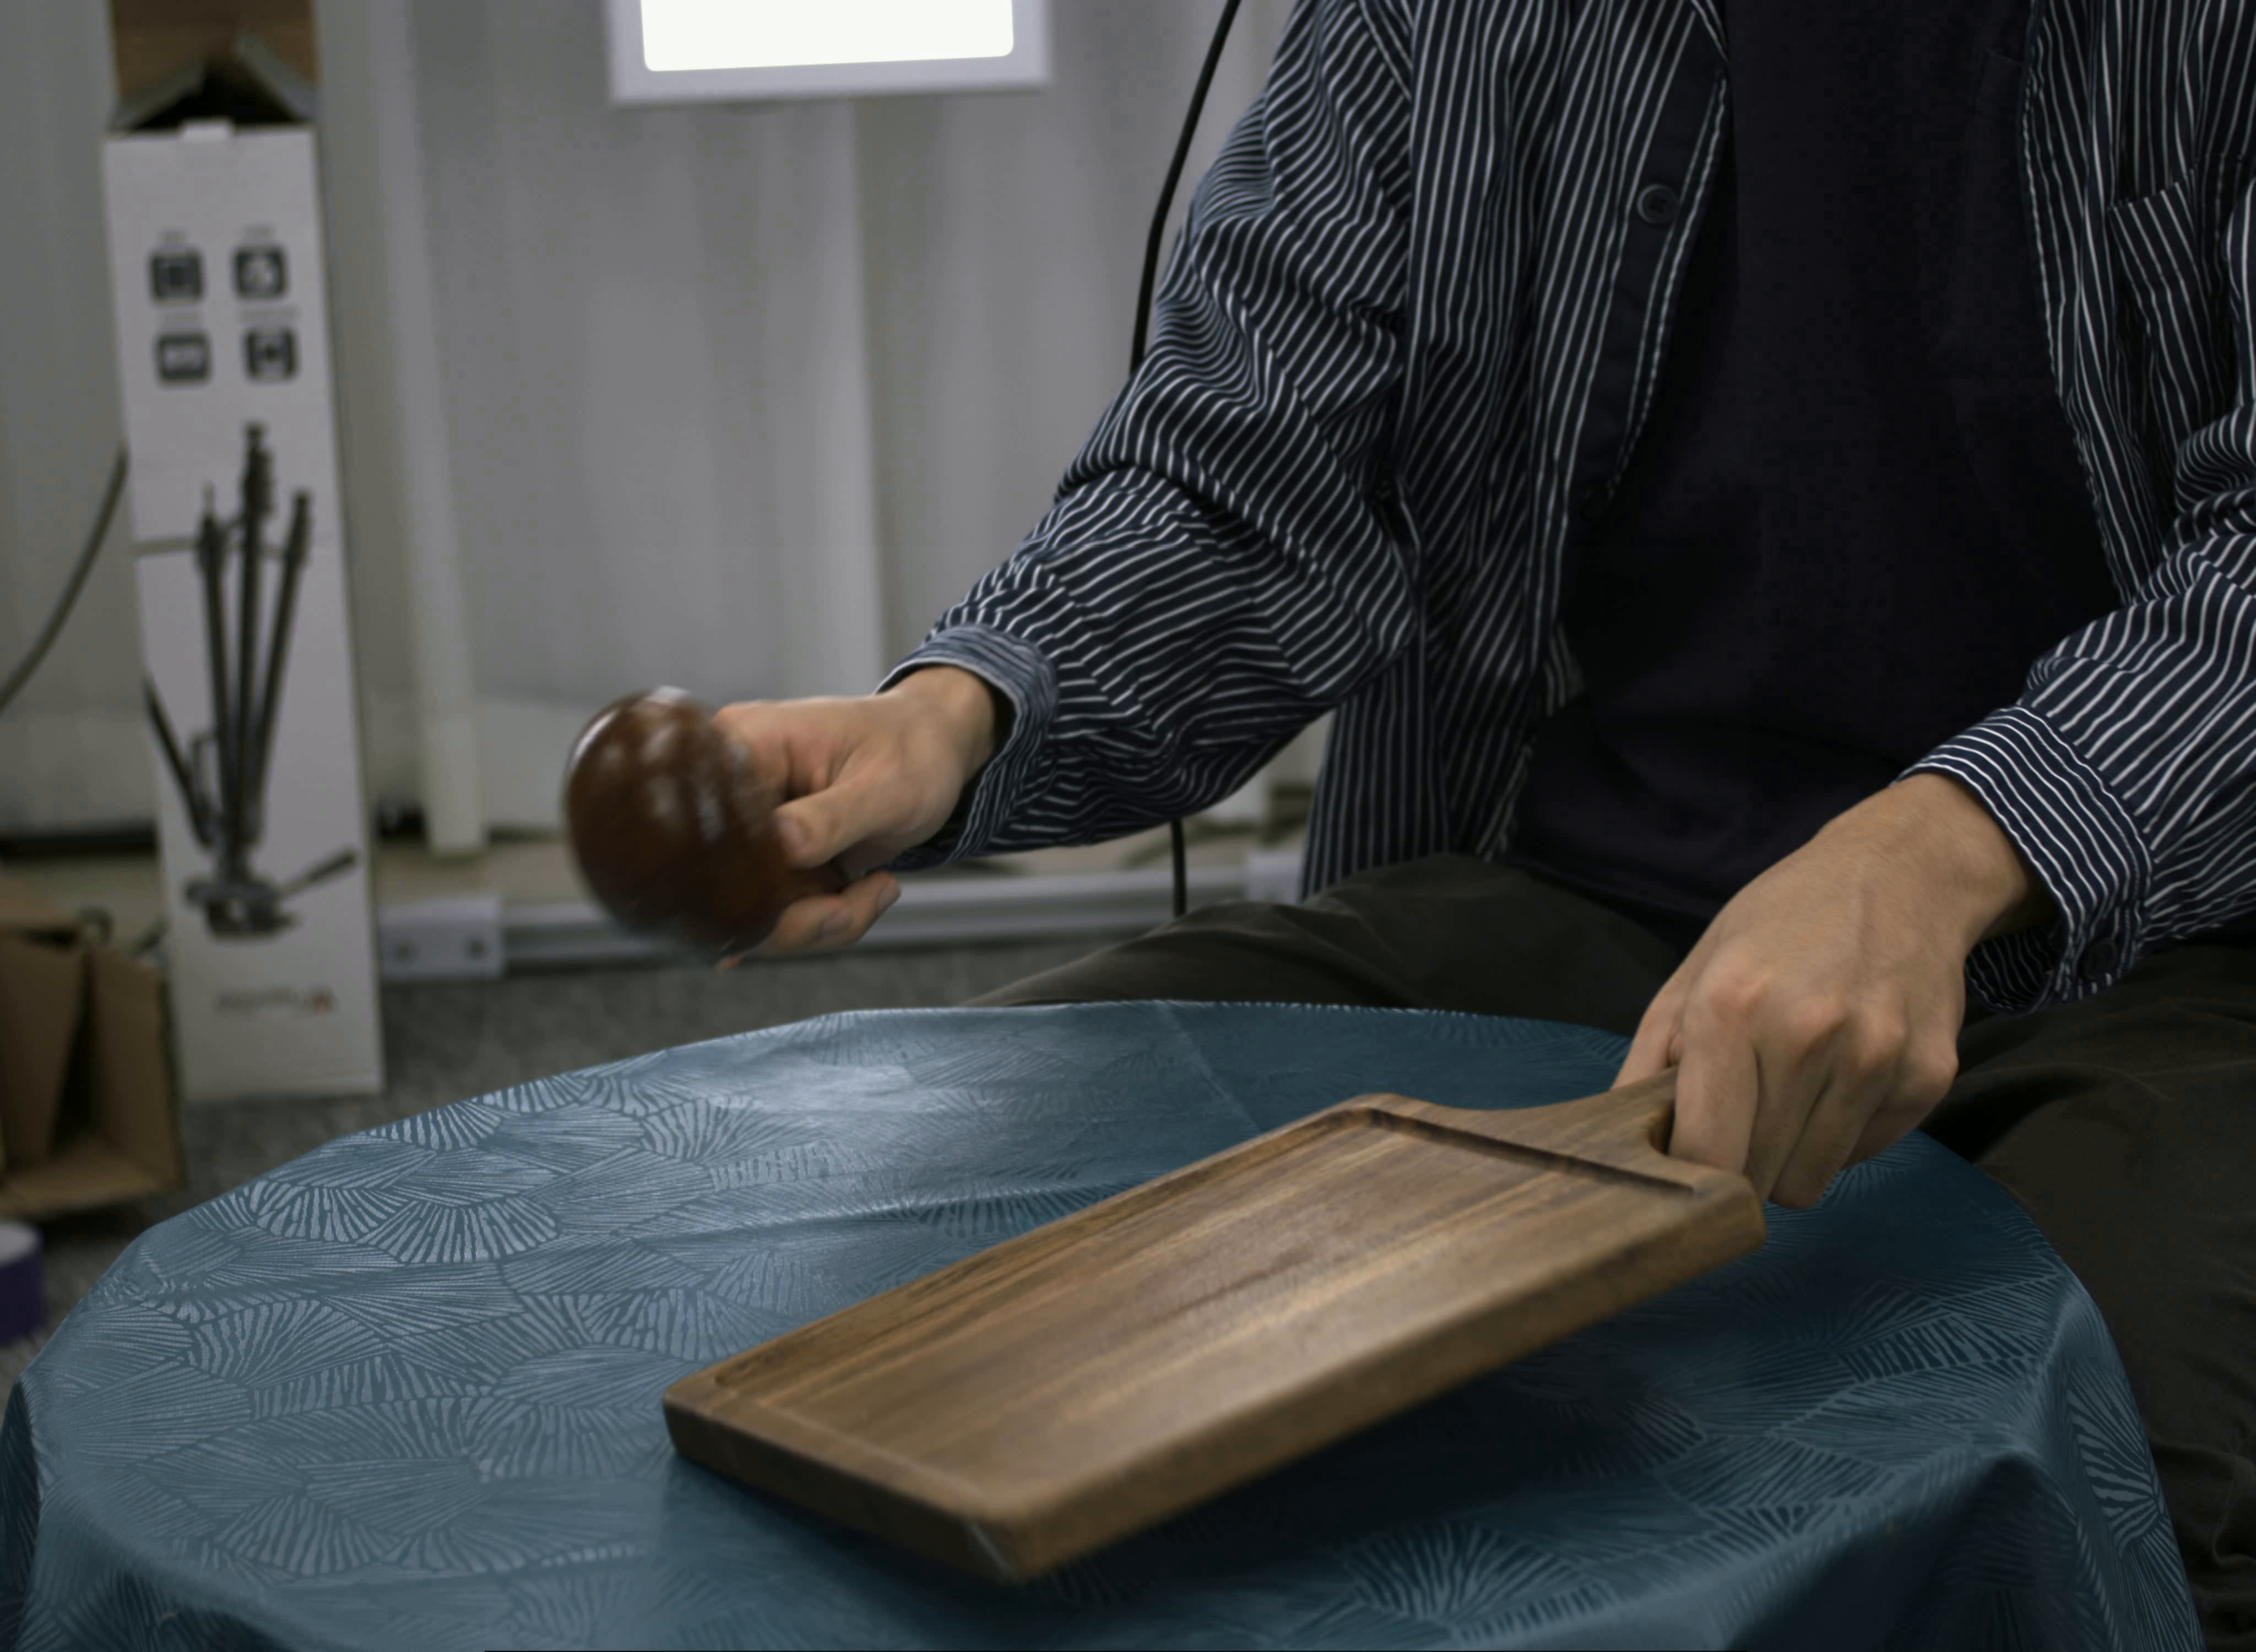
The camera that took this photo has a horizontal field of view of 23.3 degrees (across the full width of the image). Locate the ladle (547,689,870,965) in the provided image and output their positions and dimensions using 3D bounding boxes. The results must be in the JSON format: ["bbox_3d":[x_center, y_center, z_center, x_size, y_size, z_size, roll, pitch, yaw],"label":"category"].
[{"bbox_3d":[-0.106,0.004,1.652,0.076,0.082,0.273,-35,-10,13],"label":"ladle"}]

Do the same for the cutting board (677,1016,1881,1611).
[{"bbox_3d":[0.068,0.121,1.502,0.351,0.023,0.202,-21,16,-27],"label":"cutting board"}]
